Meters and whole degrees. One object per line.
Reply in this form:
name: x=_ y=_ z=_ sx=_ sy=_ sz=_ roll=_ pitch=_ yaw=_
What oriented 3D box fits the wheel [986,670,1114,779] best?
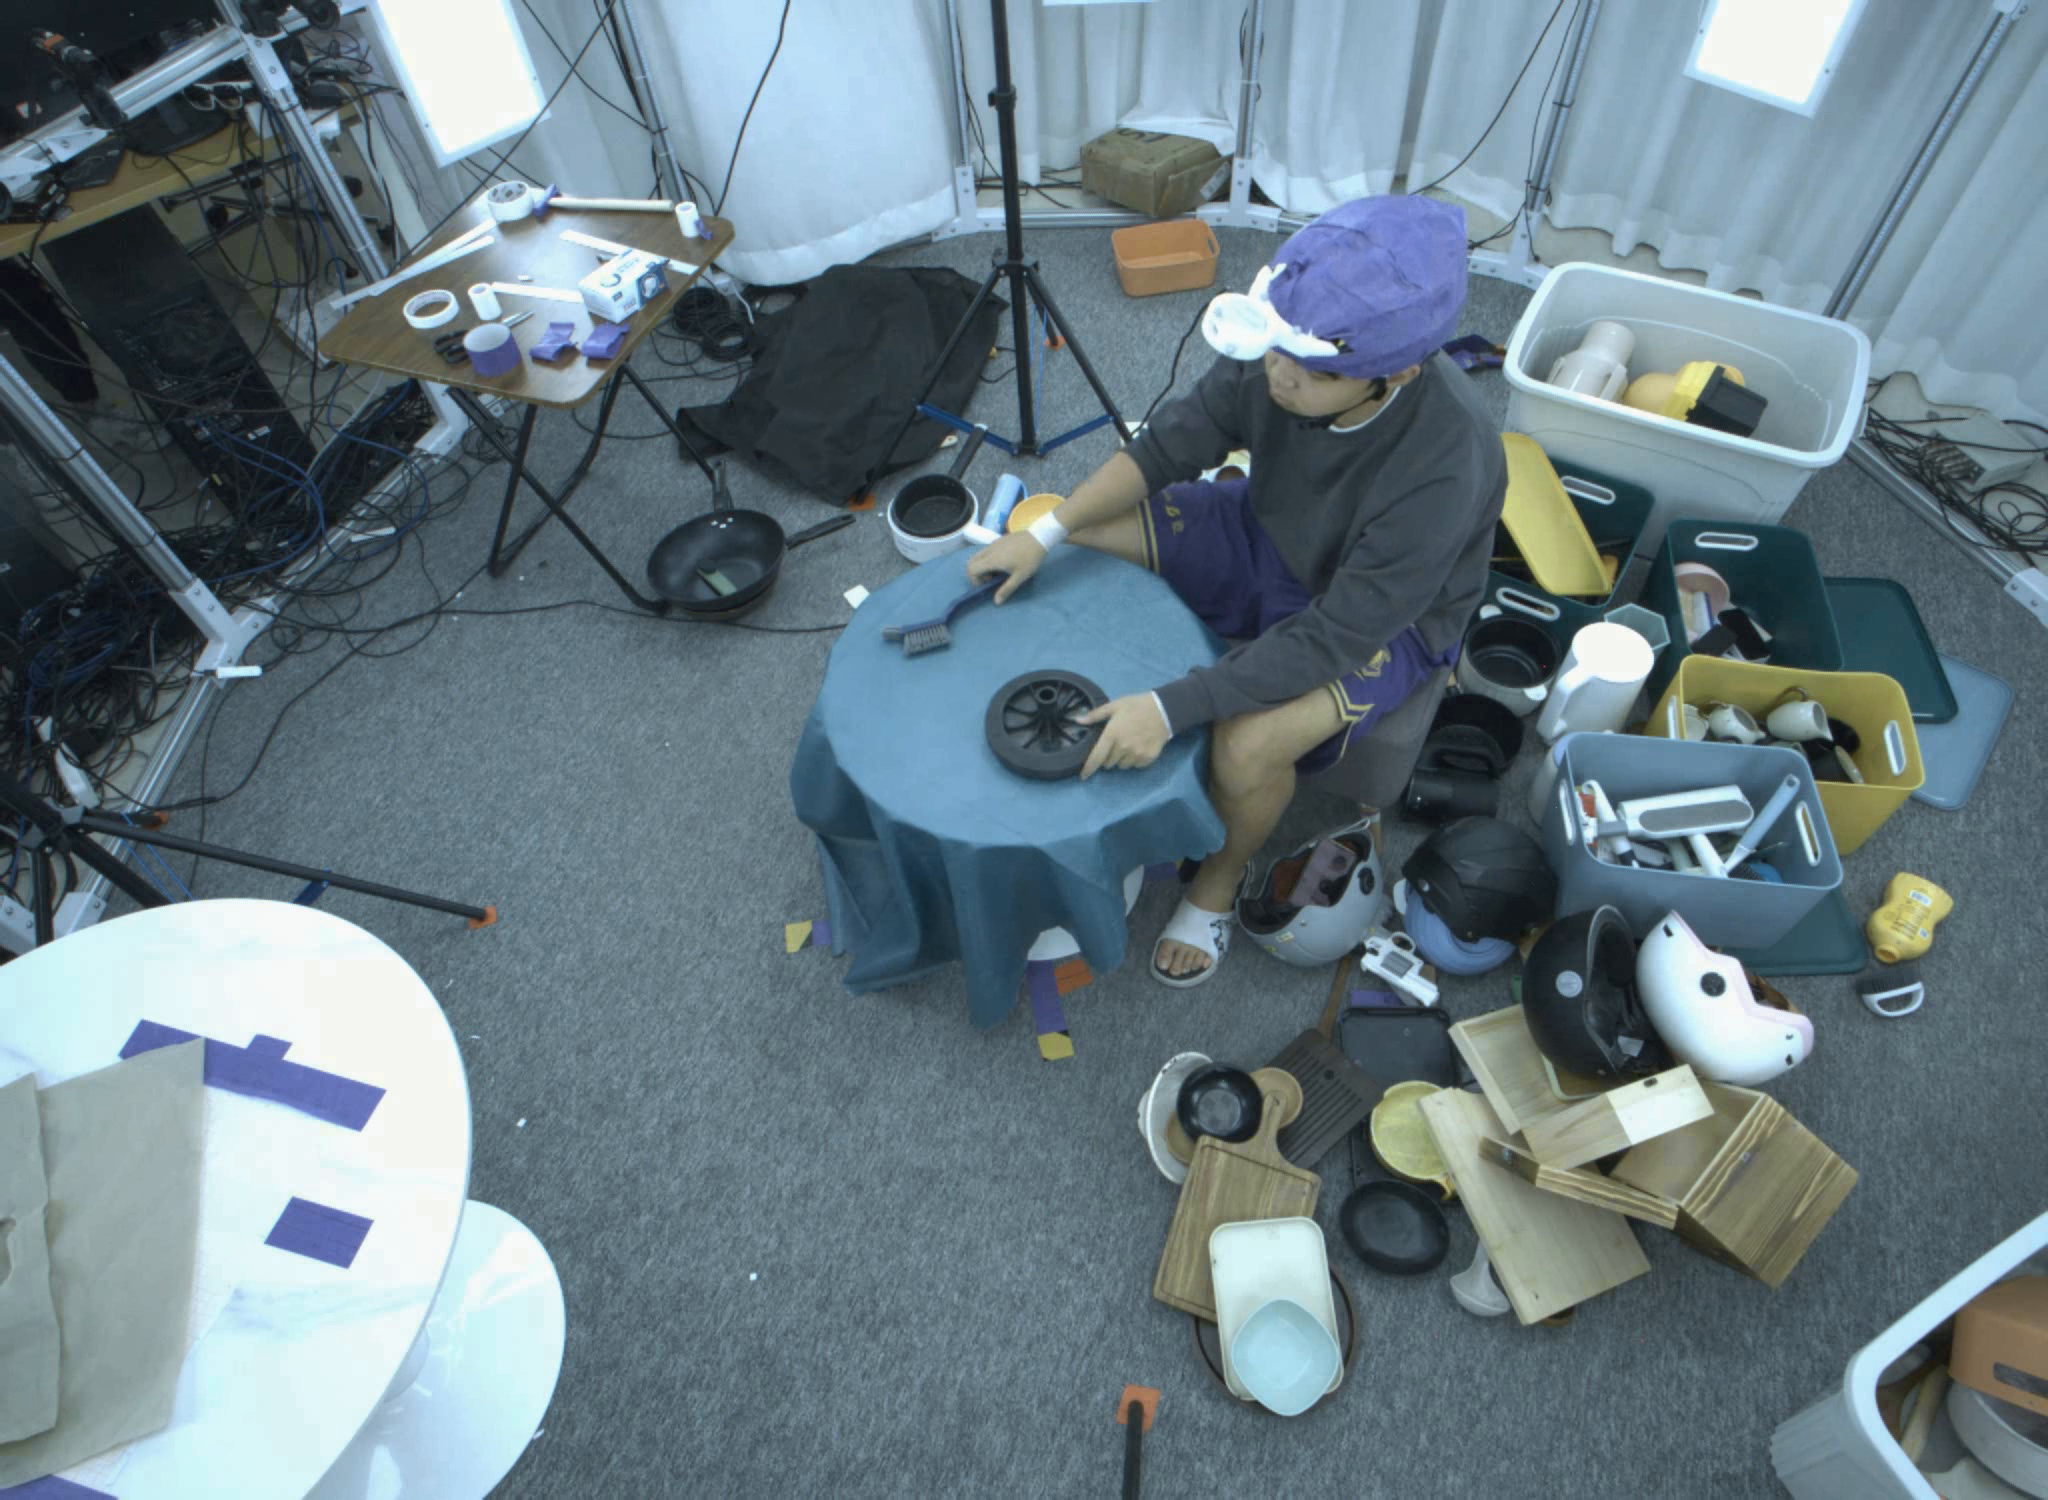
wheel: x=0.036 y=-0.052 z=1.779 sx=0.186 sy=0.080 sz=0.189 roll=8 pitch=55 yaw=9

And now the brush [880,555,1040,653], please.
brush: x=-0.096 y=-0.241 z=1.945 sx=0.275 sy=0.034 sz=0.094 roll=-38 pitch=61 yaw=-21
